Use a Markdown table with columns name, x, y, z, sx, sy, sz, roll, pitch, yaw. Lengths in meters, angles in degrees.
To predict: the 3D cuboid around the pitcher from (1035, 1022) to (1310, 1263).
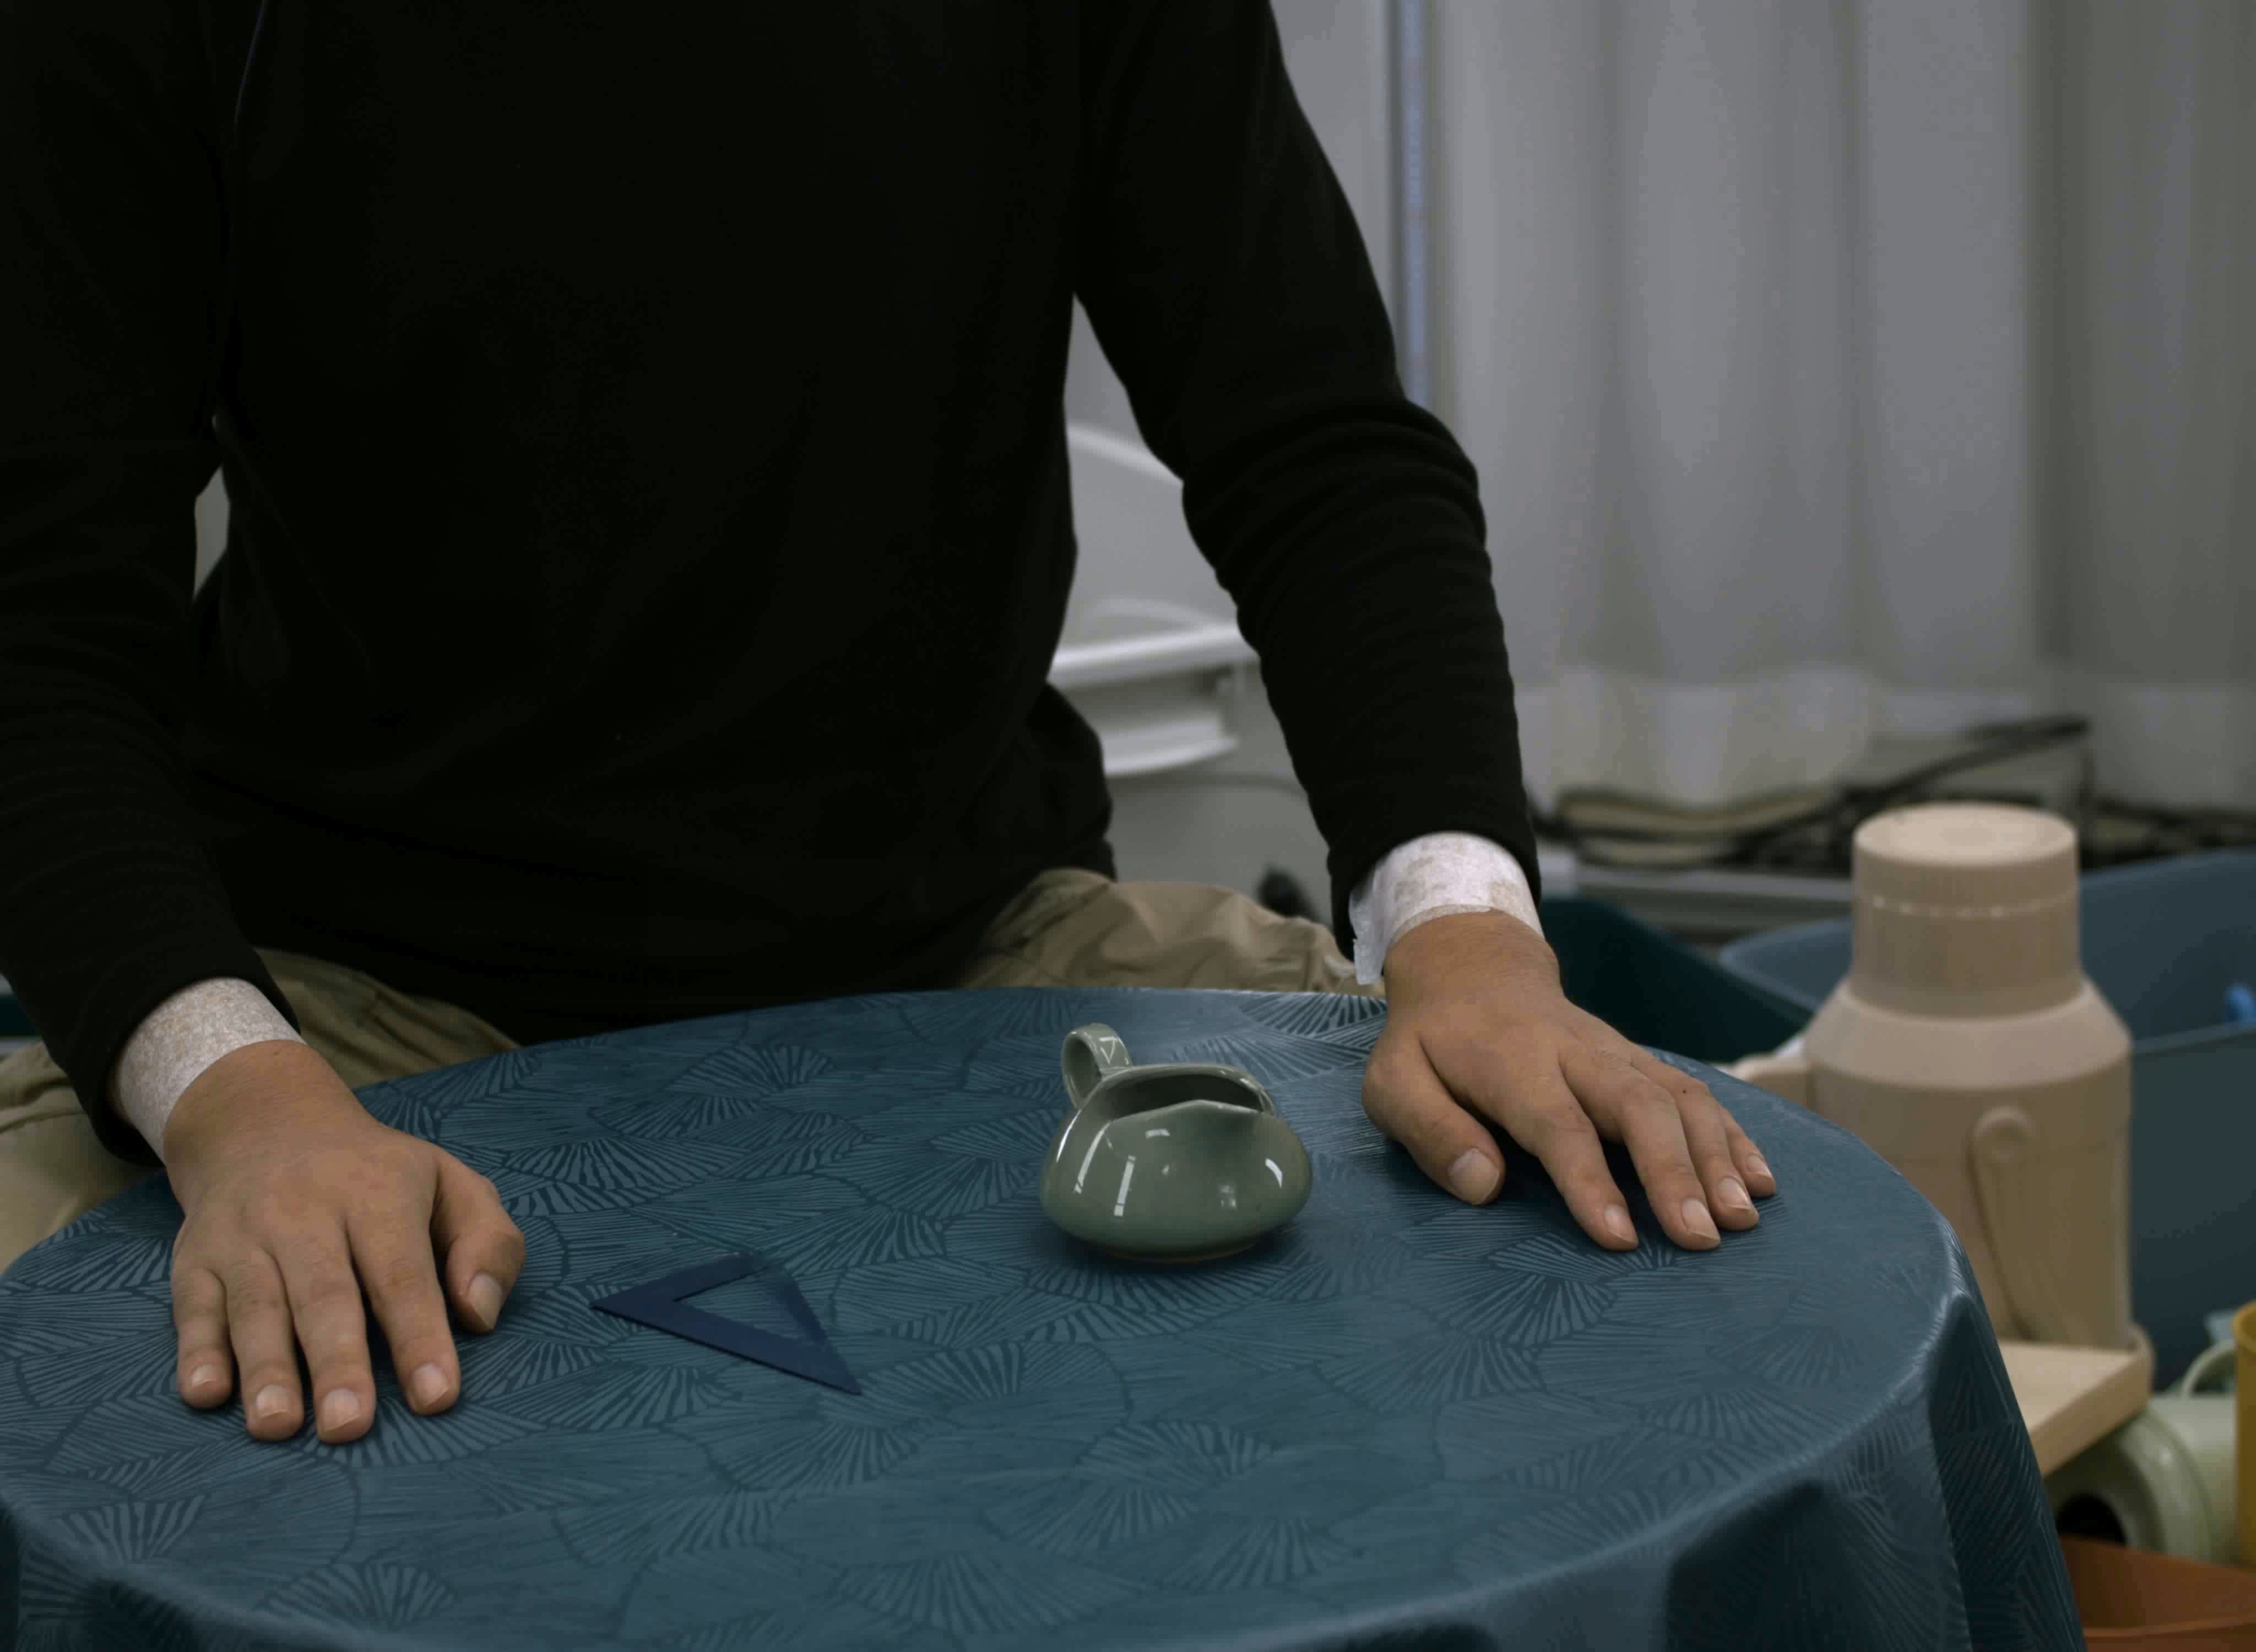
| name | x | y | z | sx | sy | sz | roll | pitch | yaw |
| --- | --- | --- | --- | --- | --- | --- | --- | --- | --- |
| pitcher | 0.010 | 0.097 | 1.670 | 0.084 | 0.056 | 0.113 | -8 | 15 | -28 |

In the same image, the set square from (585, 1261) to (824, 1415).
| name | x | y | z | sx | sy | sz | roll | pitch | yaw |
| --- | --- | --- | --- | --- | --- | --- | --- | --- | --- |
| set square | -0.125 | 0.150 | 1.597 | 0.061 | 0.006 | 0.133 | -5 | 15 | -10 |
